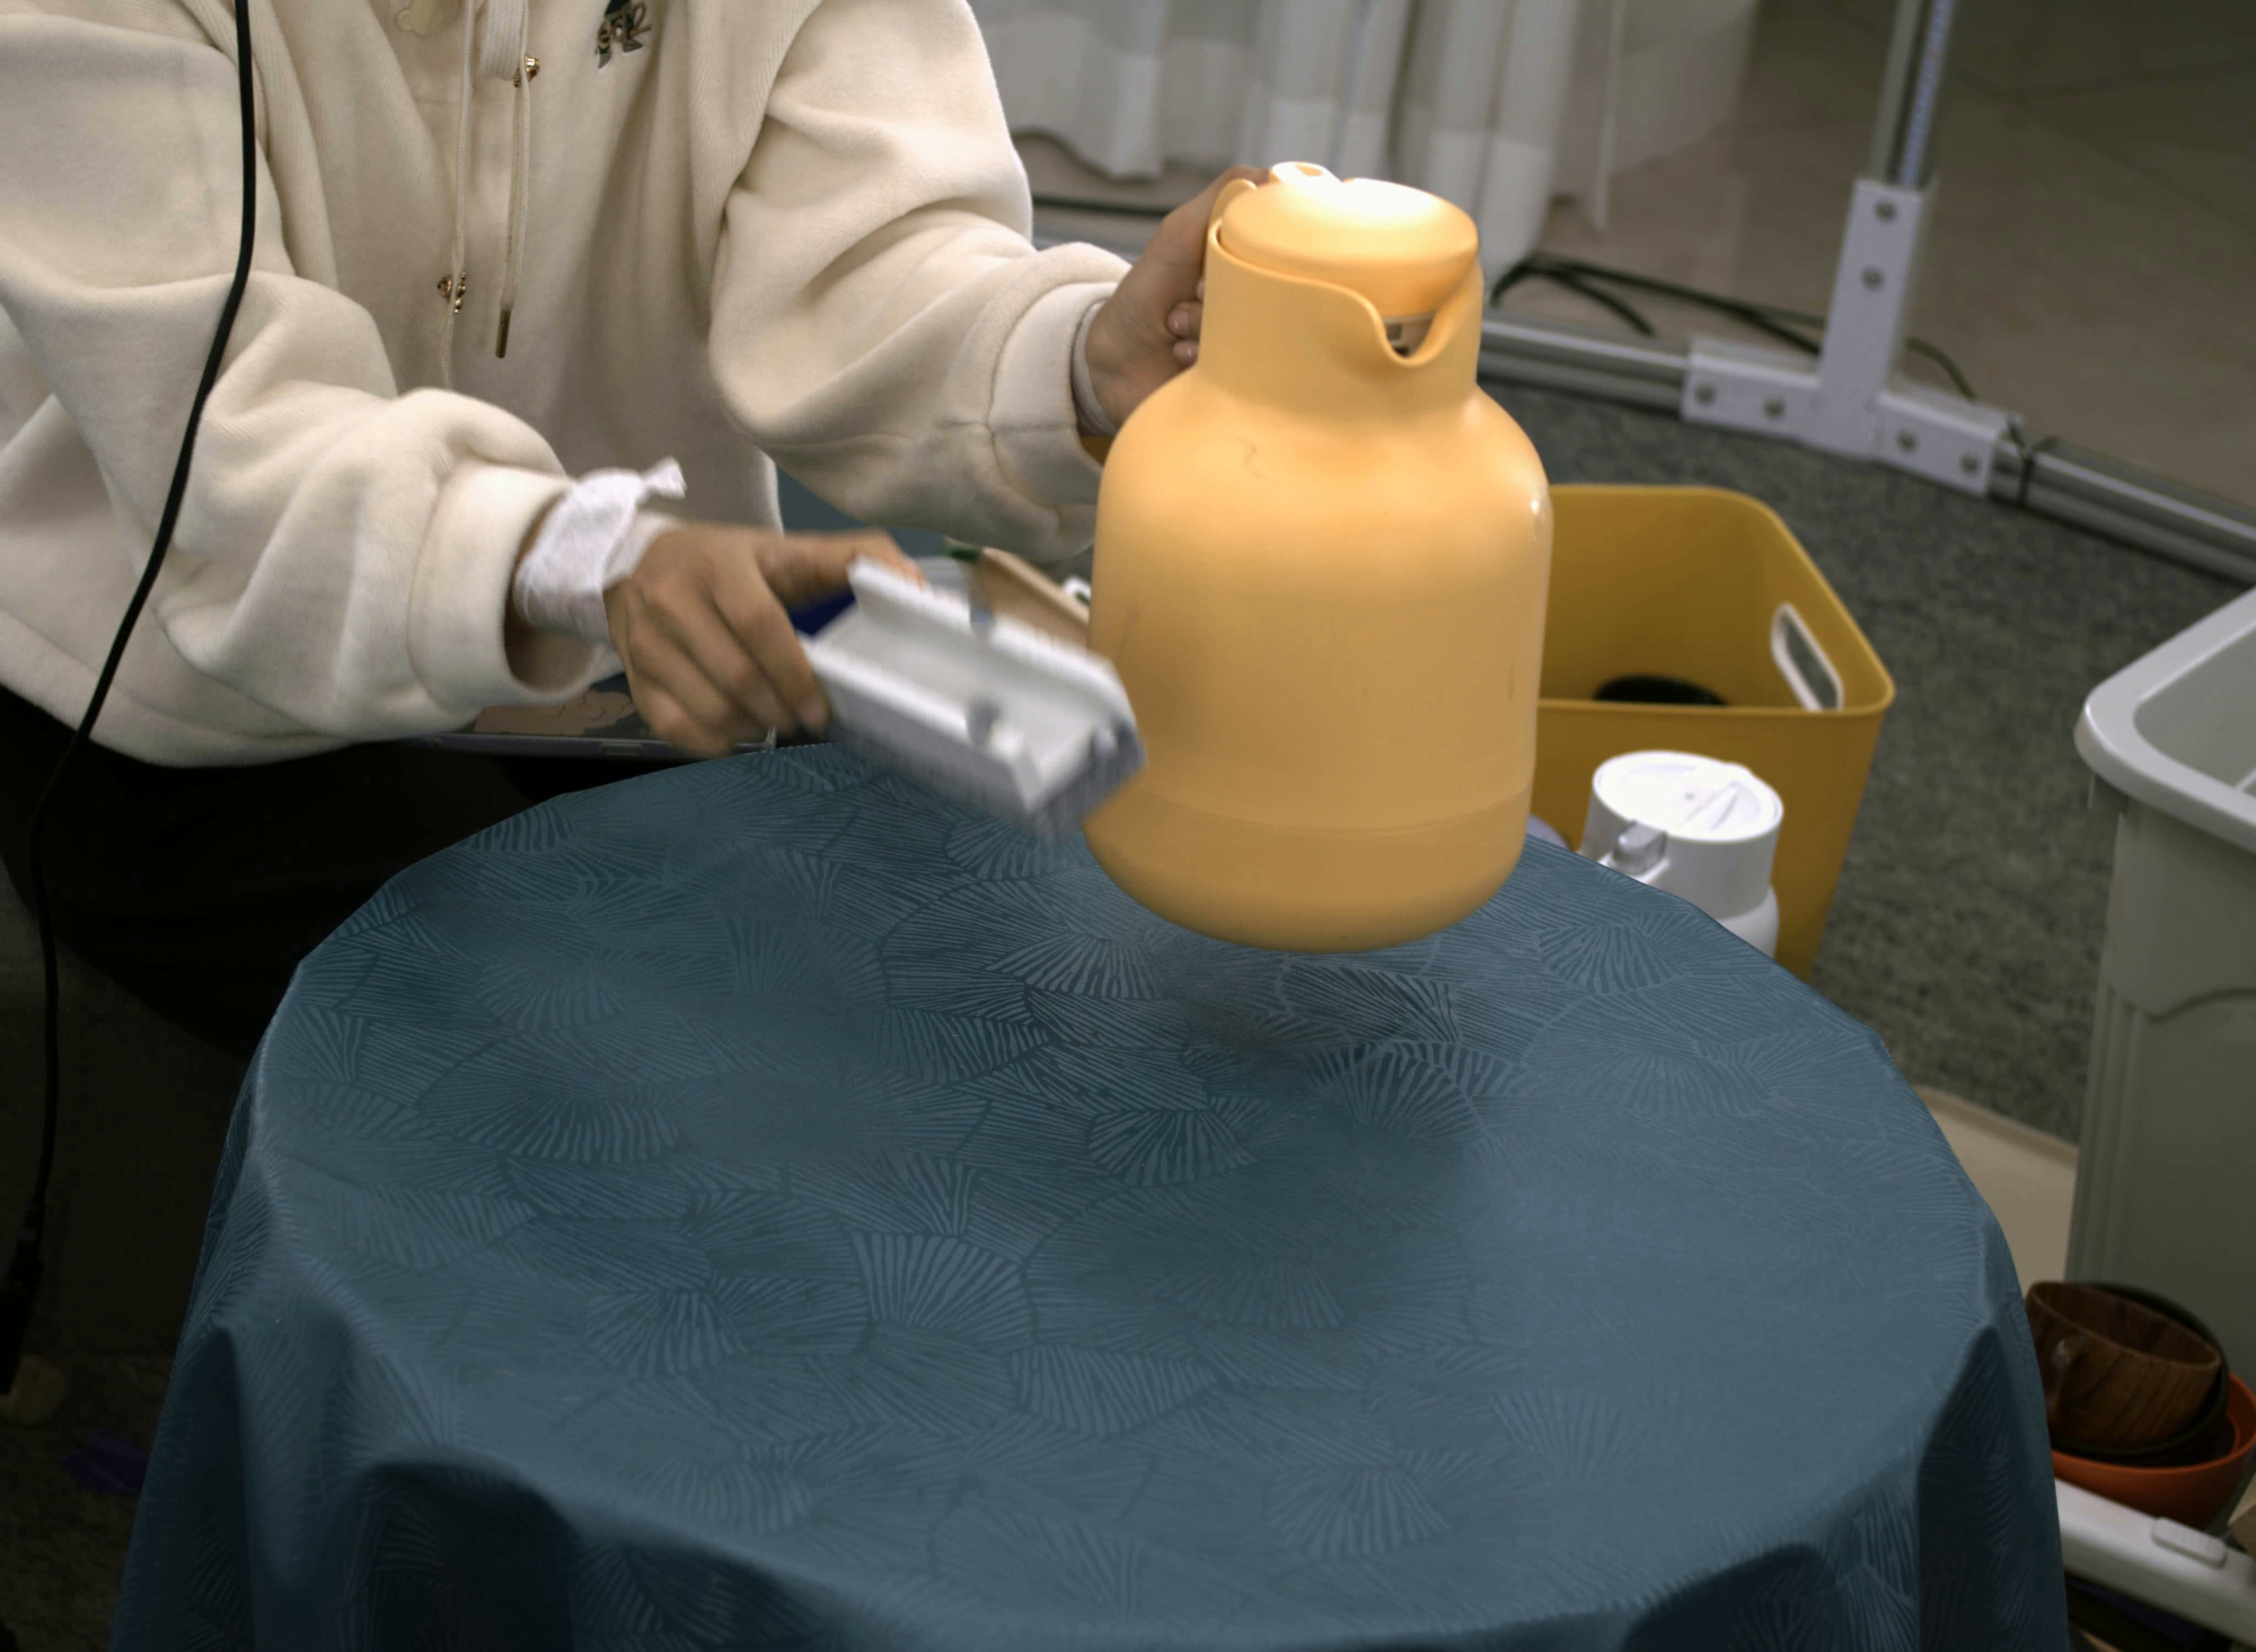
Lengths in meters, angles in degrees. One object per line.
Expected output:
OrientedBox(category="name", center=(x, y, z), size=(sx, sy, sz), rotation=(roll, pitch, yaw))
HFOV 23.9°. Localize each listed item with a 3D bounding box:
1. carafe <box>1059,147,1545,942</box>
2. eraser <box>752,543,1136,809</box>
OrientedBox(category="carafe", center=(0.061, -0.108, 1.884), size=(0.162, 0.260, 0.204), rotation=(1, 24, -16))
OrientedBox(category="eraser", center=(-0.060, -0.050, 1.752), size=(0.135, 0.046, 0.050), rotation=(21, 59, 45))
